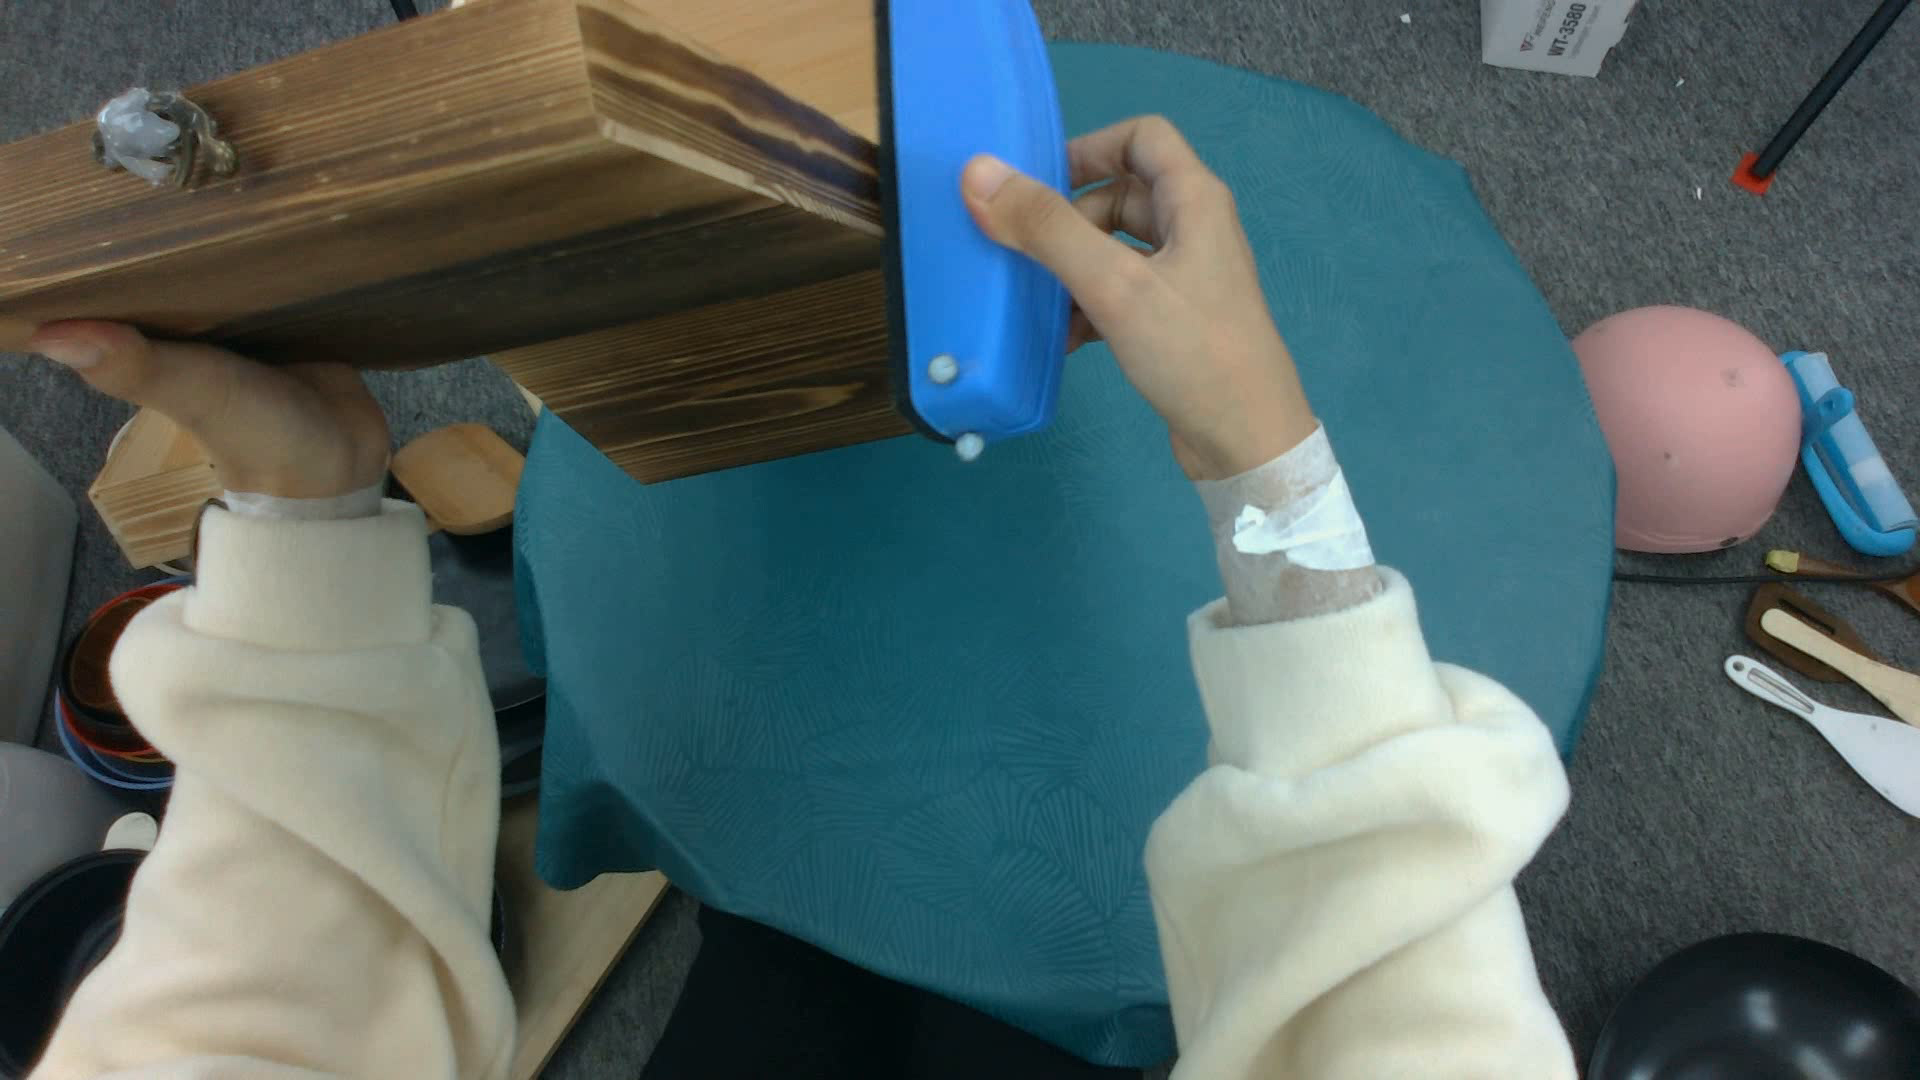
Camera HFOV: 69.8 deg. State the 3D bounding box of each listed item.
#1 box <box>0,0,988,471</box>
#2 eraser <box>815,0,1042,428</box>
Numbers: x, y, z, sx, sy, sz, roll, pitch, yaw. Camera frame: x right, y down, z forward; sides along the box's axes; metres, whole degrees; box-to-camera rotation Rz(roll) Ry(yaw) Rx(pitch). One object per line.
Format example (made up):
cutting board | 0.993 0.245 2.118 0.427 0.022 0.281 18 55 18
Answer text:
box | -0.119 -0.162 0.490 0.208 0.374 0.323 -9 65 15
eraser | -0.007 -0.115 0.402 0.047 0.054 0.162 -11 79 21
